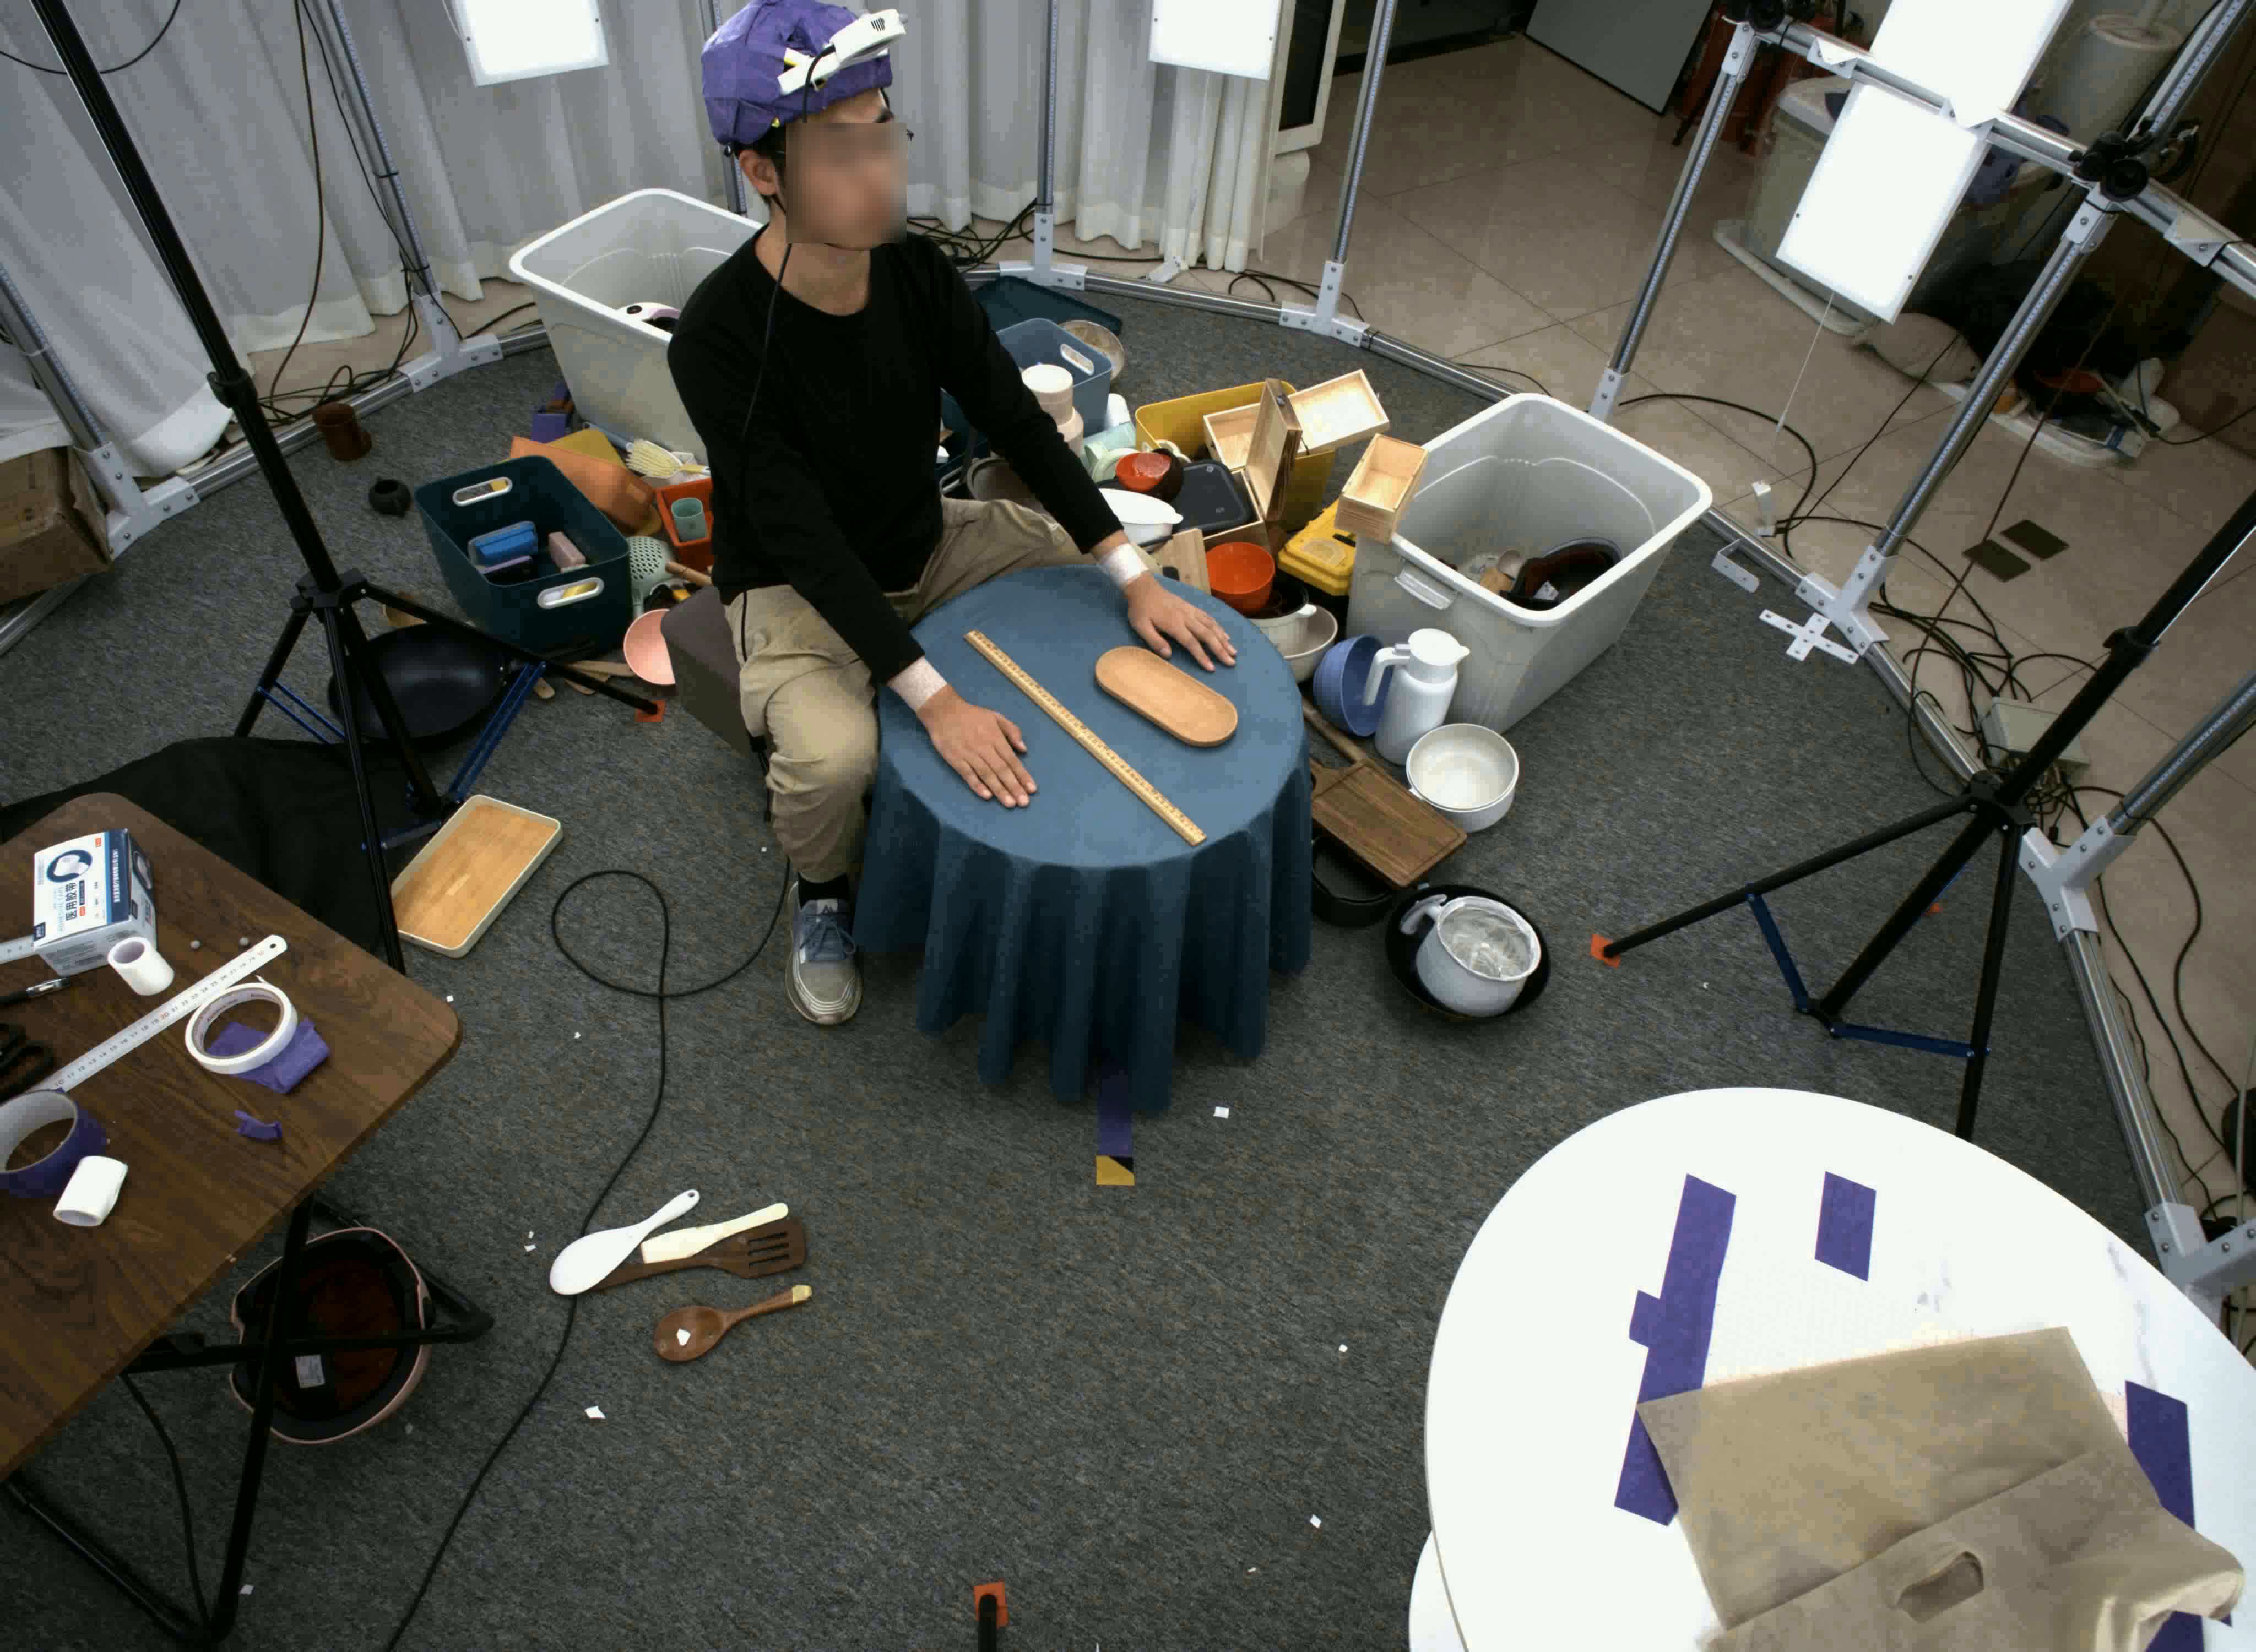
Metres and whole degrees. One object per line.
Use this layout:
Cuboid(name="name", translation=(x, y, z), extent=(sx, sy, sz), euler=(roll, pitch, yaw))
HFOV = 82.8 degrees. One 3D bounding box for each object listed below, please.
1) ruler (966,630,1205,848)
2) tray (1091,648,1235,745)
Cuboid(name="ruler", translation=(-0.068, -0.132, 1.777), extent=(0.027, 0.006, 0.509), euler=(-29, 57, -28))
Cuboid(name="tray", translation=(0.048, -0.186, 1.824), extent=(0.234, 0.020, 0.103), euler=(32, 53, 24))
